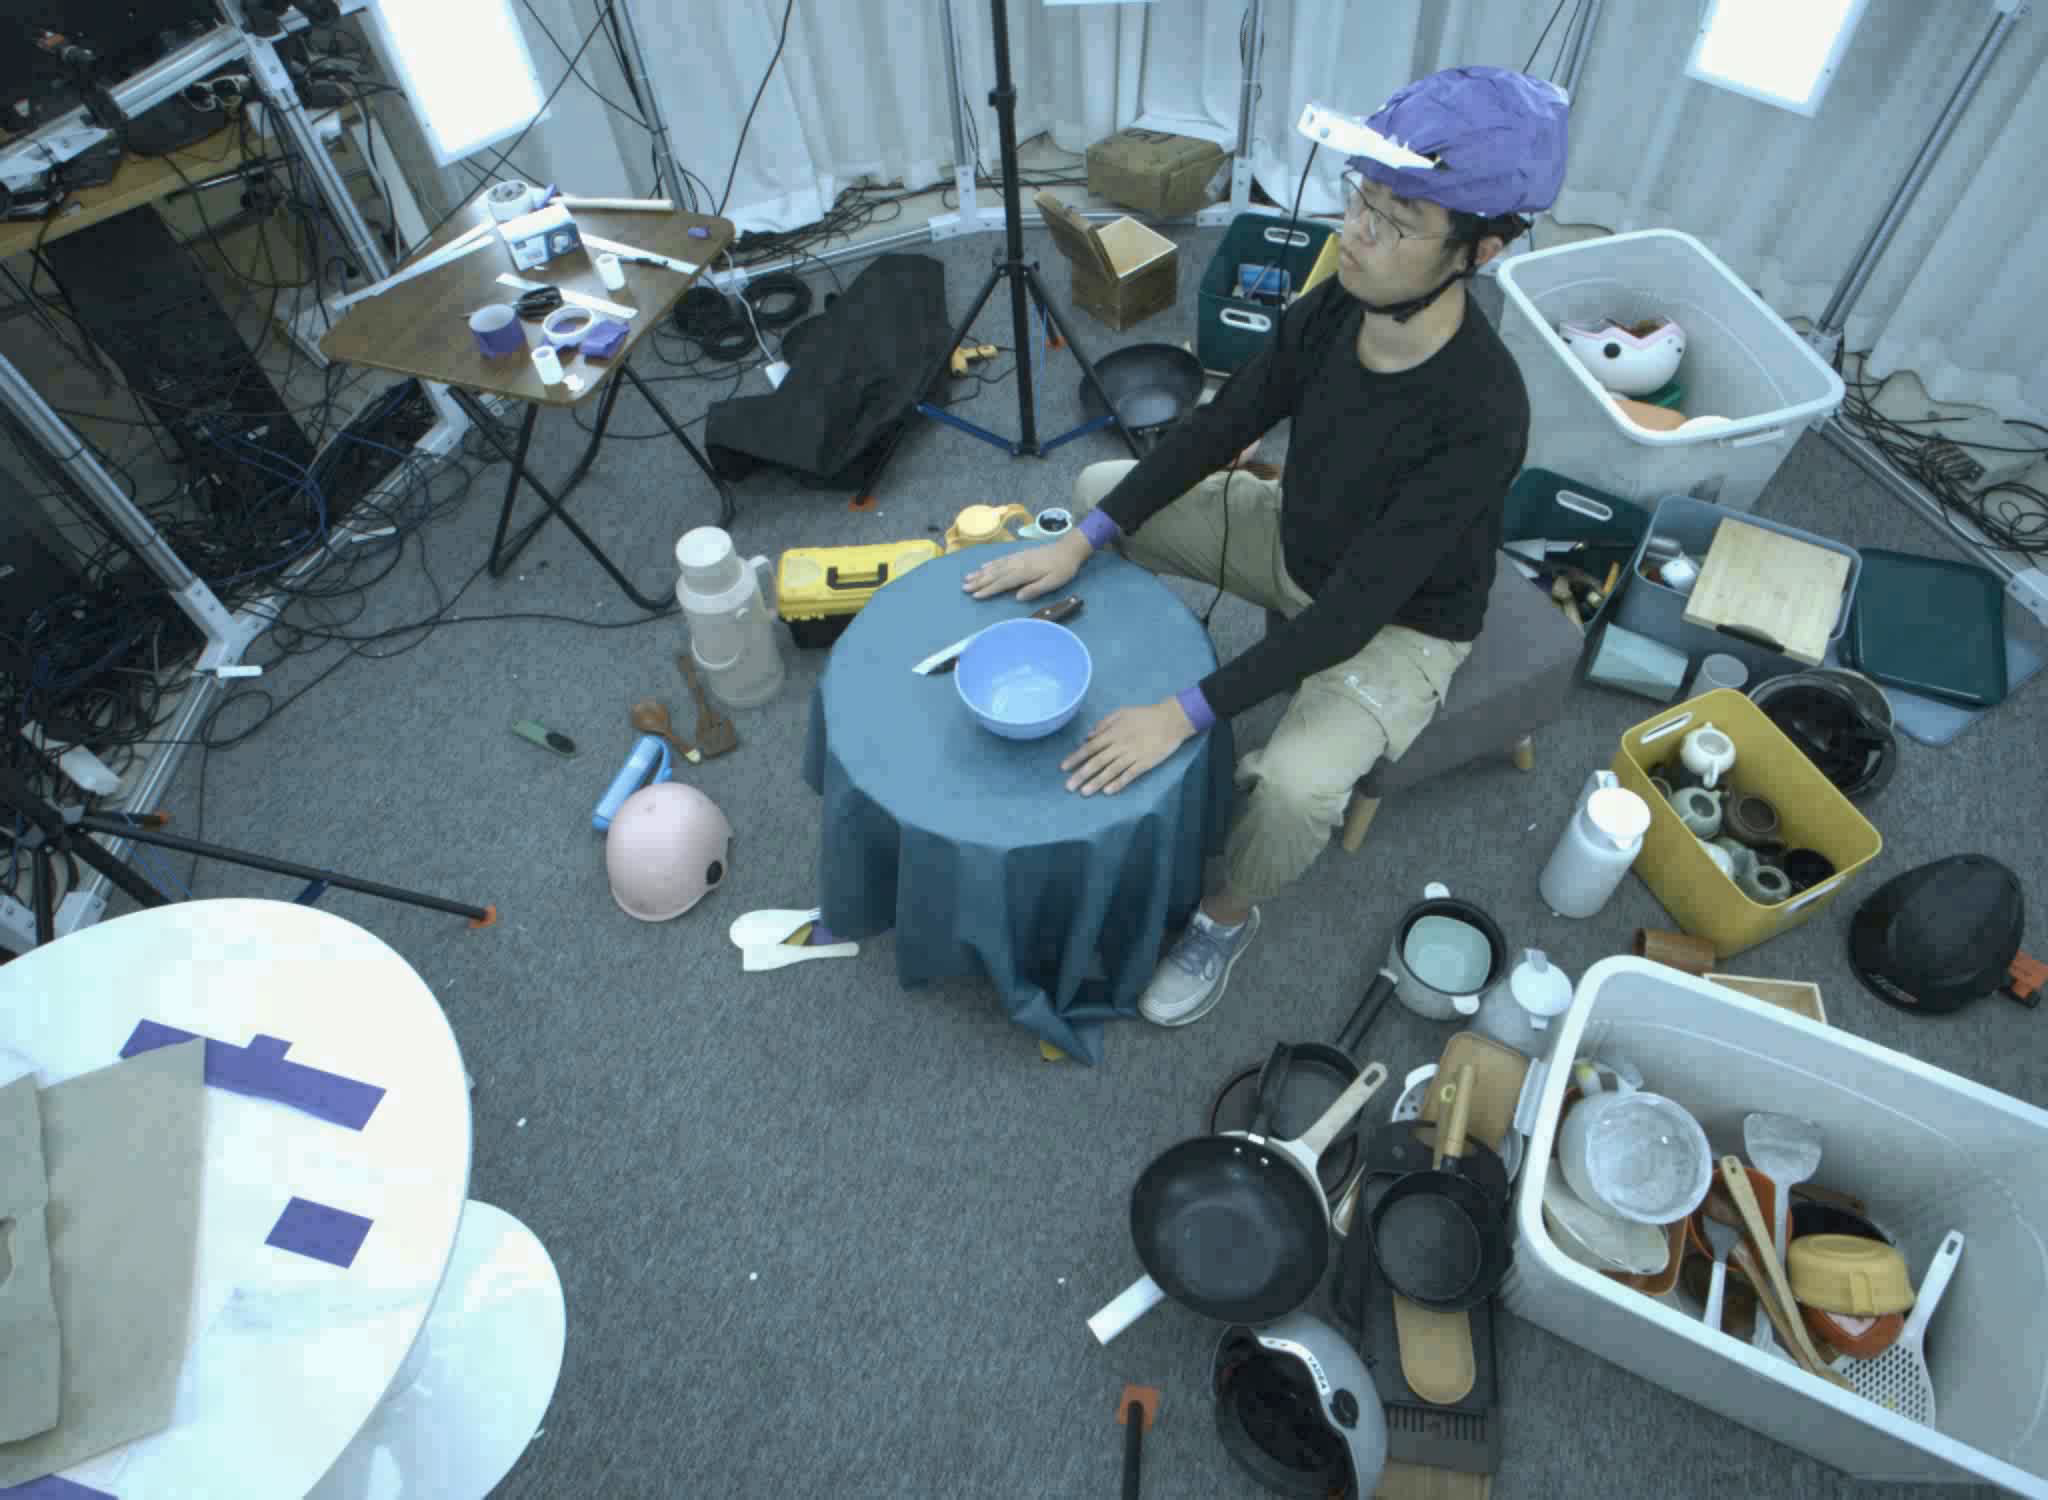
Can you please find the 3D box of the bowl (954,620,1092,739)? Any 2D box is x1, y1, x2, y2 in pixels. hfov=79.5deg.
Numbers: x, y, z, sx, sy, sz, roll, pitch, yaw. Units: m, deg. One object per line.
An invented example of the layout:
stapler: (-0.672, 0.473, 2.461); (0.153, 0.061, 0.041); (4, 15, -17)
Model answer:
bowl: (0.000, -0.087, 1.790); (0.196, 0.096, 0.194); (0, 53, 1)

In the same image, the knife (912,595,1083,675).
knife: (-0.041, -0.177, 1.902); (0.291, 0.020, 0.049); (-24, 52, -12)
